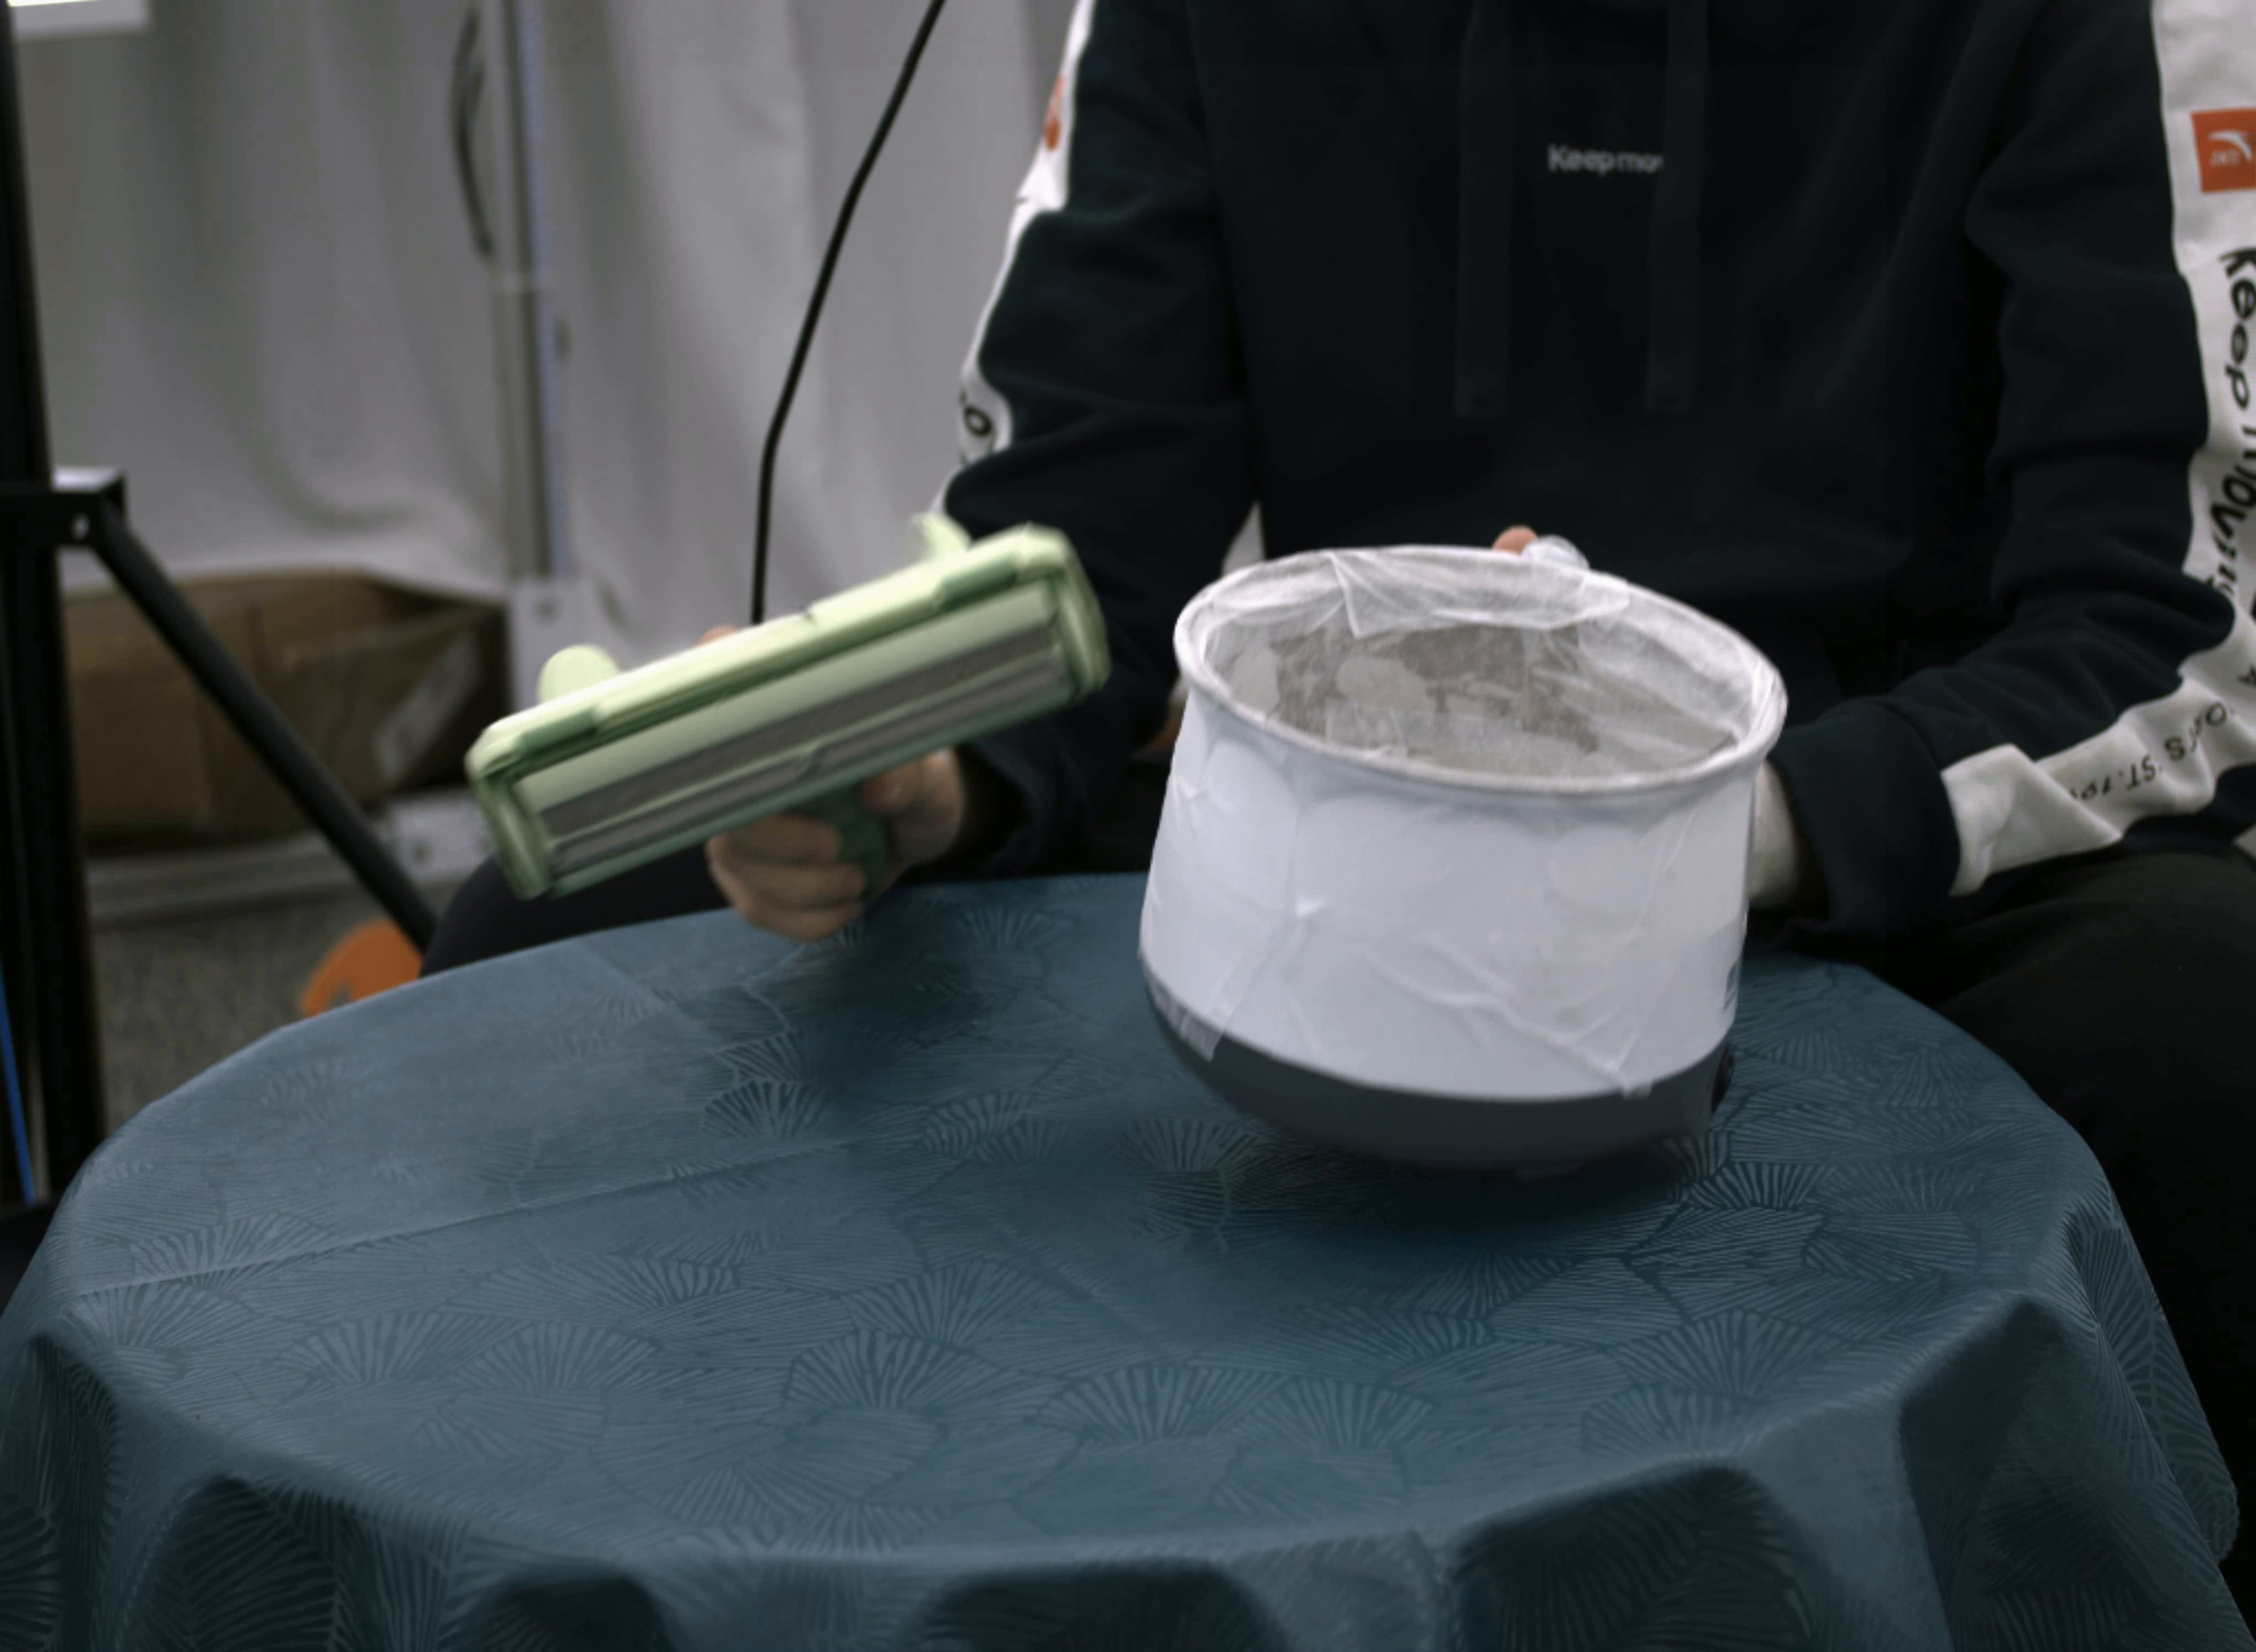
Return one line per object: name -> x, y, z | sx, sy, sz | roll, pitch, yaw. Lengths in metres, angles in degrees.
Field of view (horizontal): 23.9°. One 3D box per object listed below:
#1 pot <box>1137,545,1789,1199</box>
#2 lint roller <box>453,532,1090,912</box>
pot -> 0.101, 0.005, 1.564 | 0.180, 0.136, 0.232 | 12, 25, 13
lint roller -> -0.111, -0.026, 1.702 | 0.198, 0.083, 0.182 | -20, -11, -1
